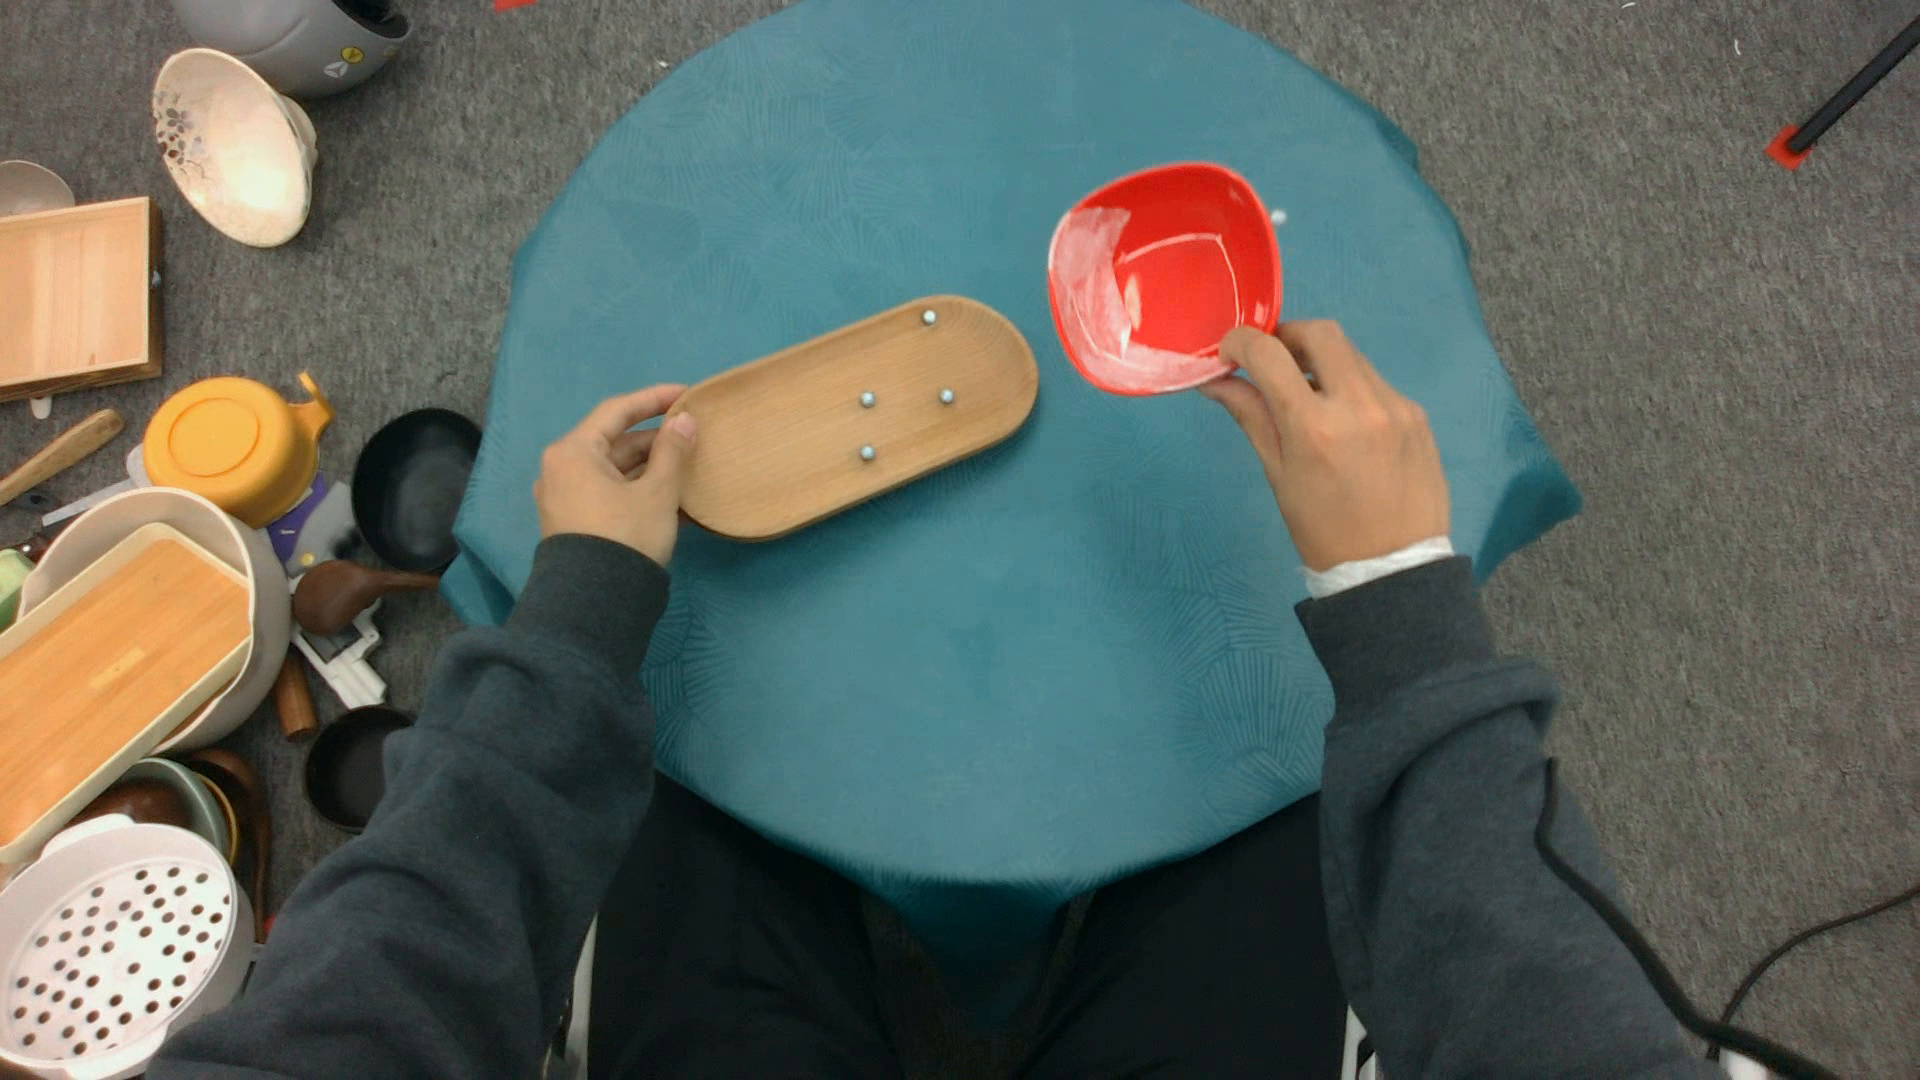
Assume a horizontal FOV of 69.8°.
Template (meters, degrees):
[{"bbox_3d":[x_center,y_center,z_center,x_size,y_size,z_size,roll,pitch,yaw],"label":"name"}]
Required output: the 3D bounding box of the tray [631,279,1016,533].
[{"bbox_3d":[-0.073,-0.078,0.777,0.232,0.020,0.102,-26,76,-20],"label":"tray"}]

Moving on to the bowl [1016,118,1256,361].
[{"bbox_3d":[0.088,-0.139,0.662,0.119,0.051,0.119,-1,87,19],"label":"bowl"}]
